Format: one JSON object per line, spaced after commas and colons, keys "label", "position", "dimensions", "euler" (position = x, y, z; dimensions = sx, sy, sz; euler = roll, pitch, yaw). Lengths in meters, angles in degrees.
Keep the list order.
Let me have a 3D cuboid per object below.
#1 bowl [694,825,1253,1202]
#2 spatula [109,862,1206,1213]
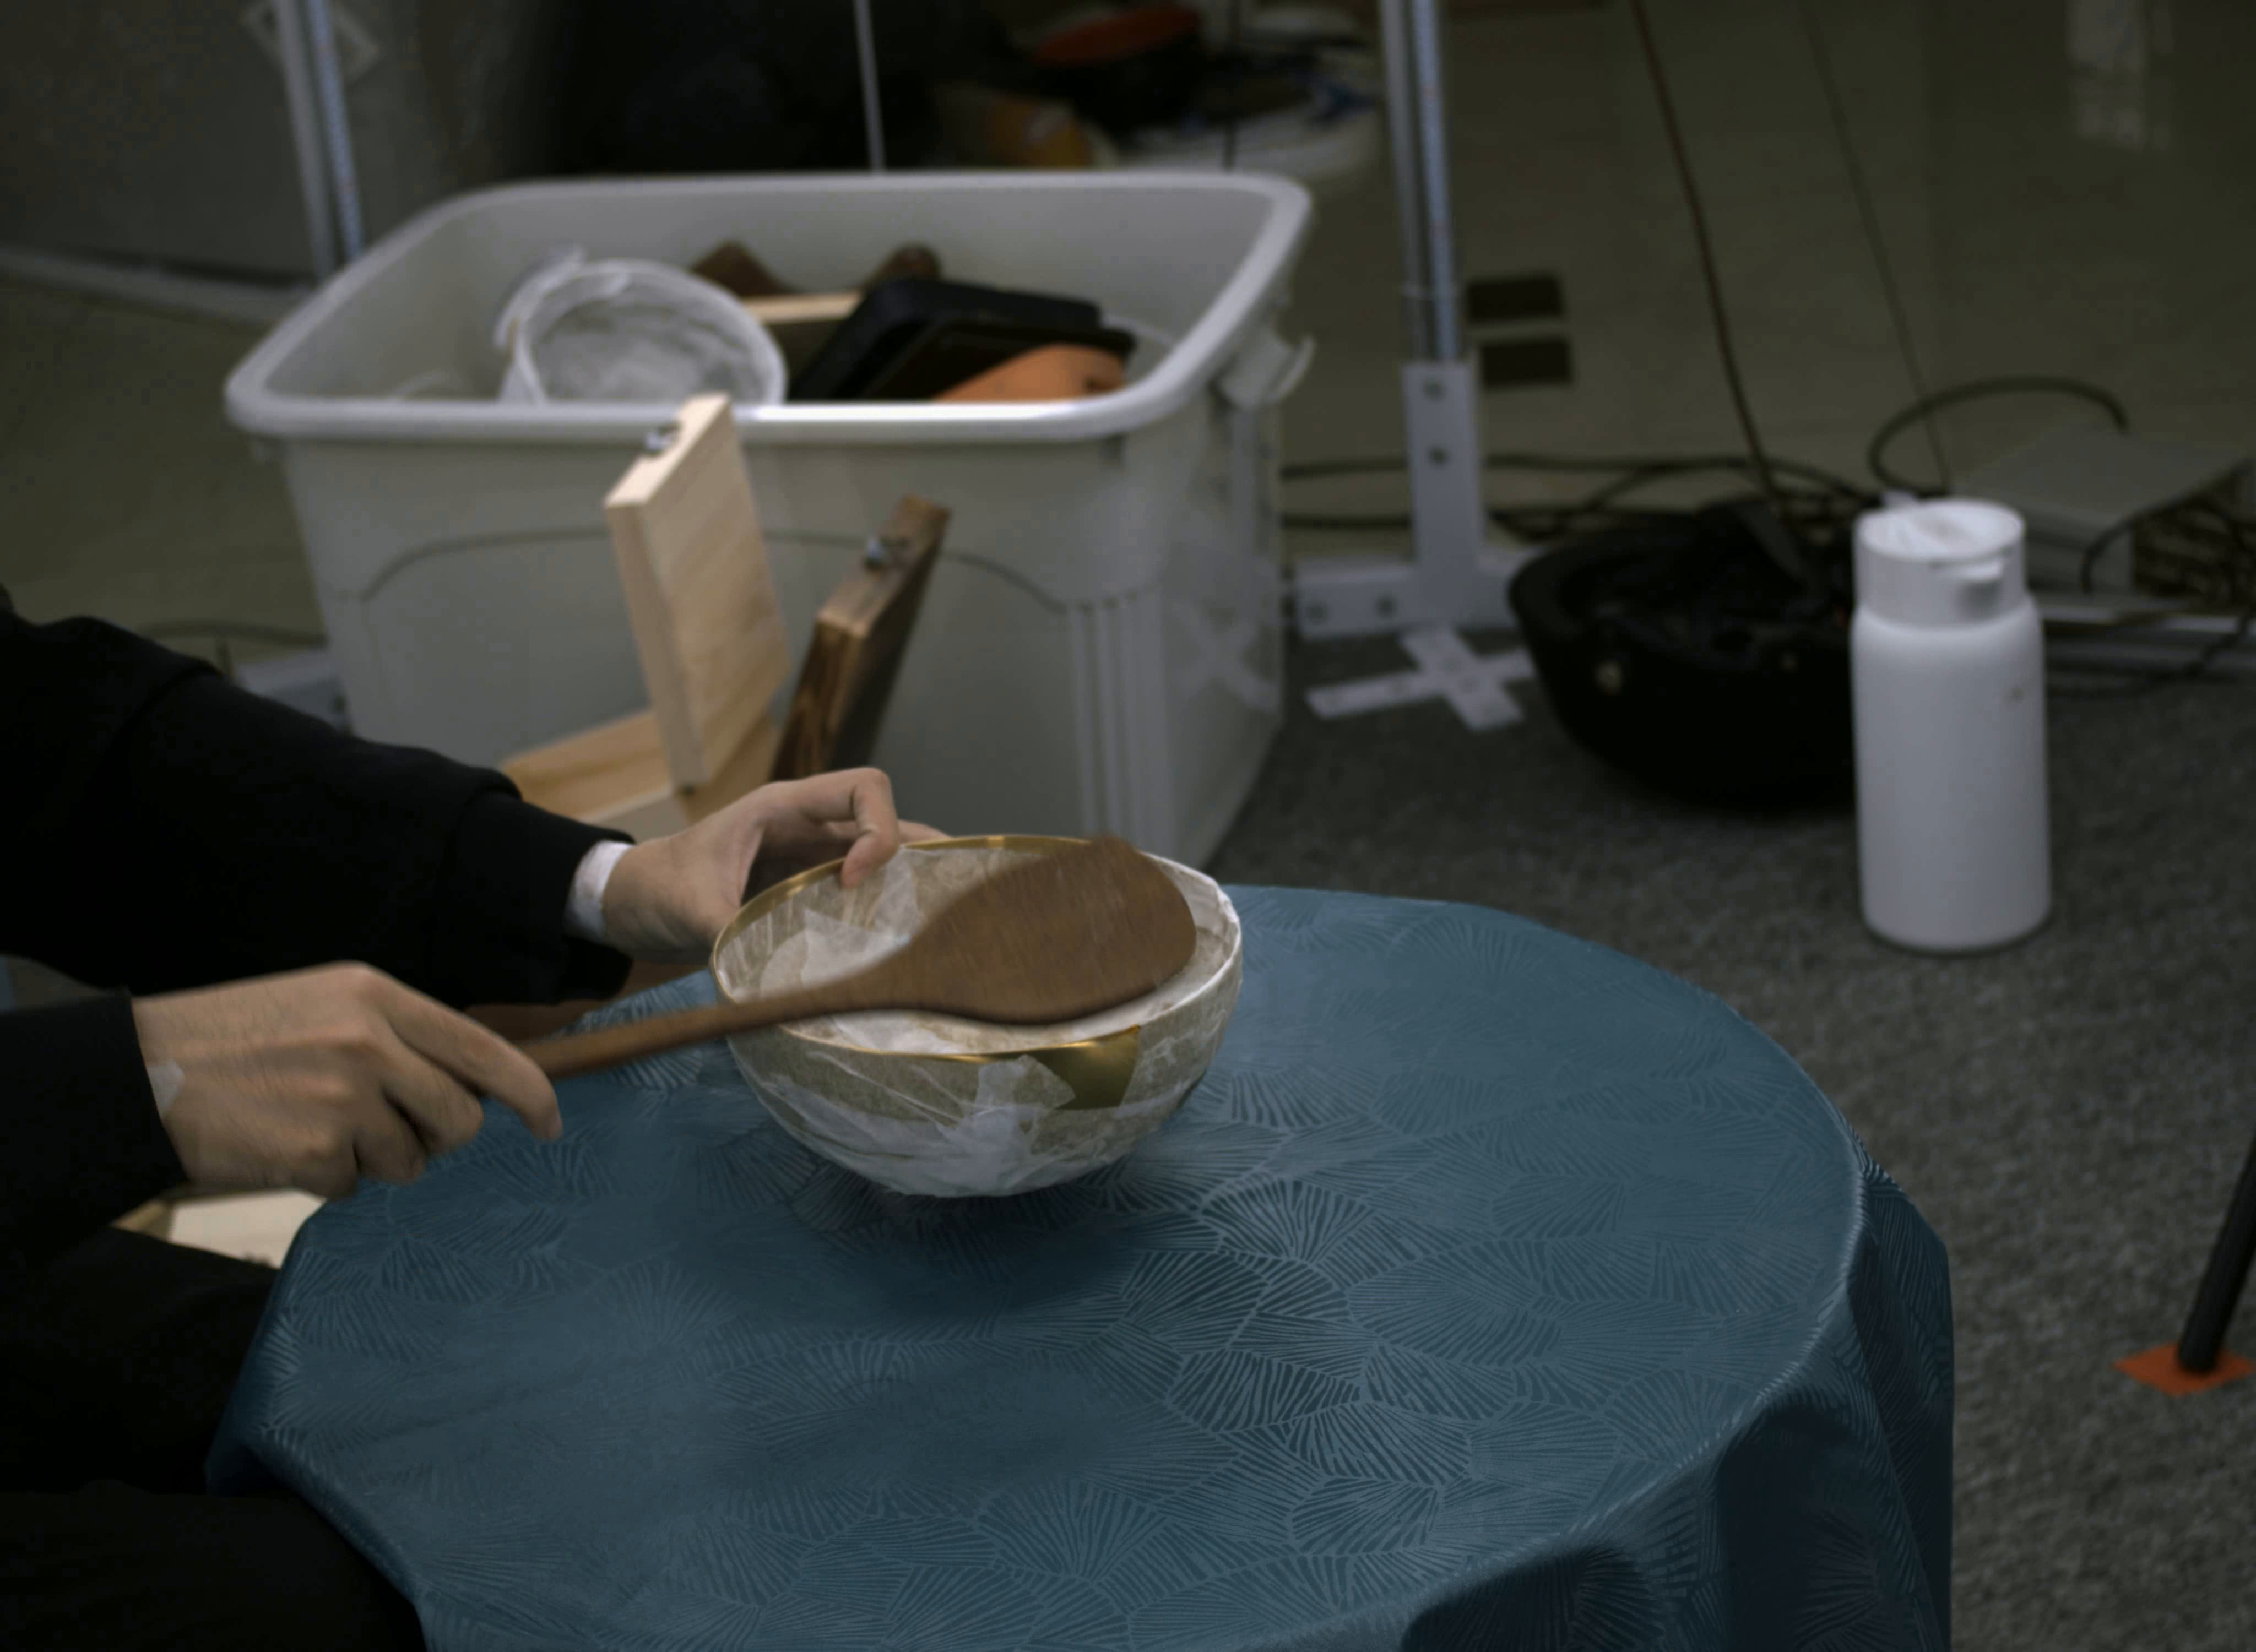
{"label": "bowl", "position": [-0.056, 0.084, 2.161], "dimensions": [0.214, 0.096, 0.211], "euler": [-3, 25, 2]}
{"label": "spatula", "position": [-0.161, 0.079, 1.950], "dimensions": [0.385, 0.016, 0.094], "euler": [-13, 37, -12]}
